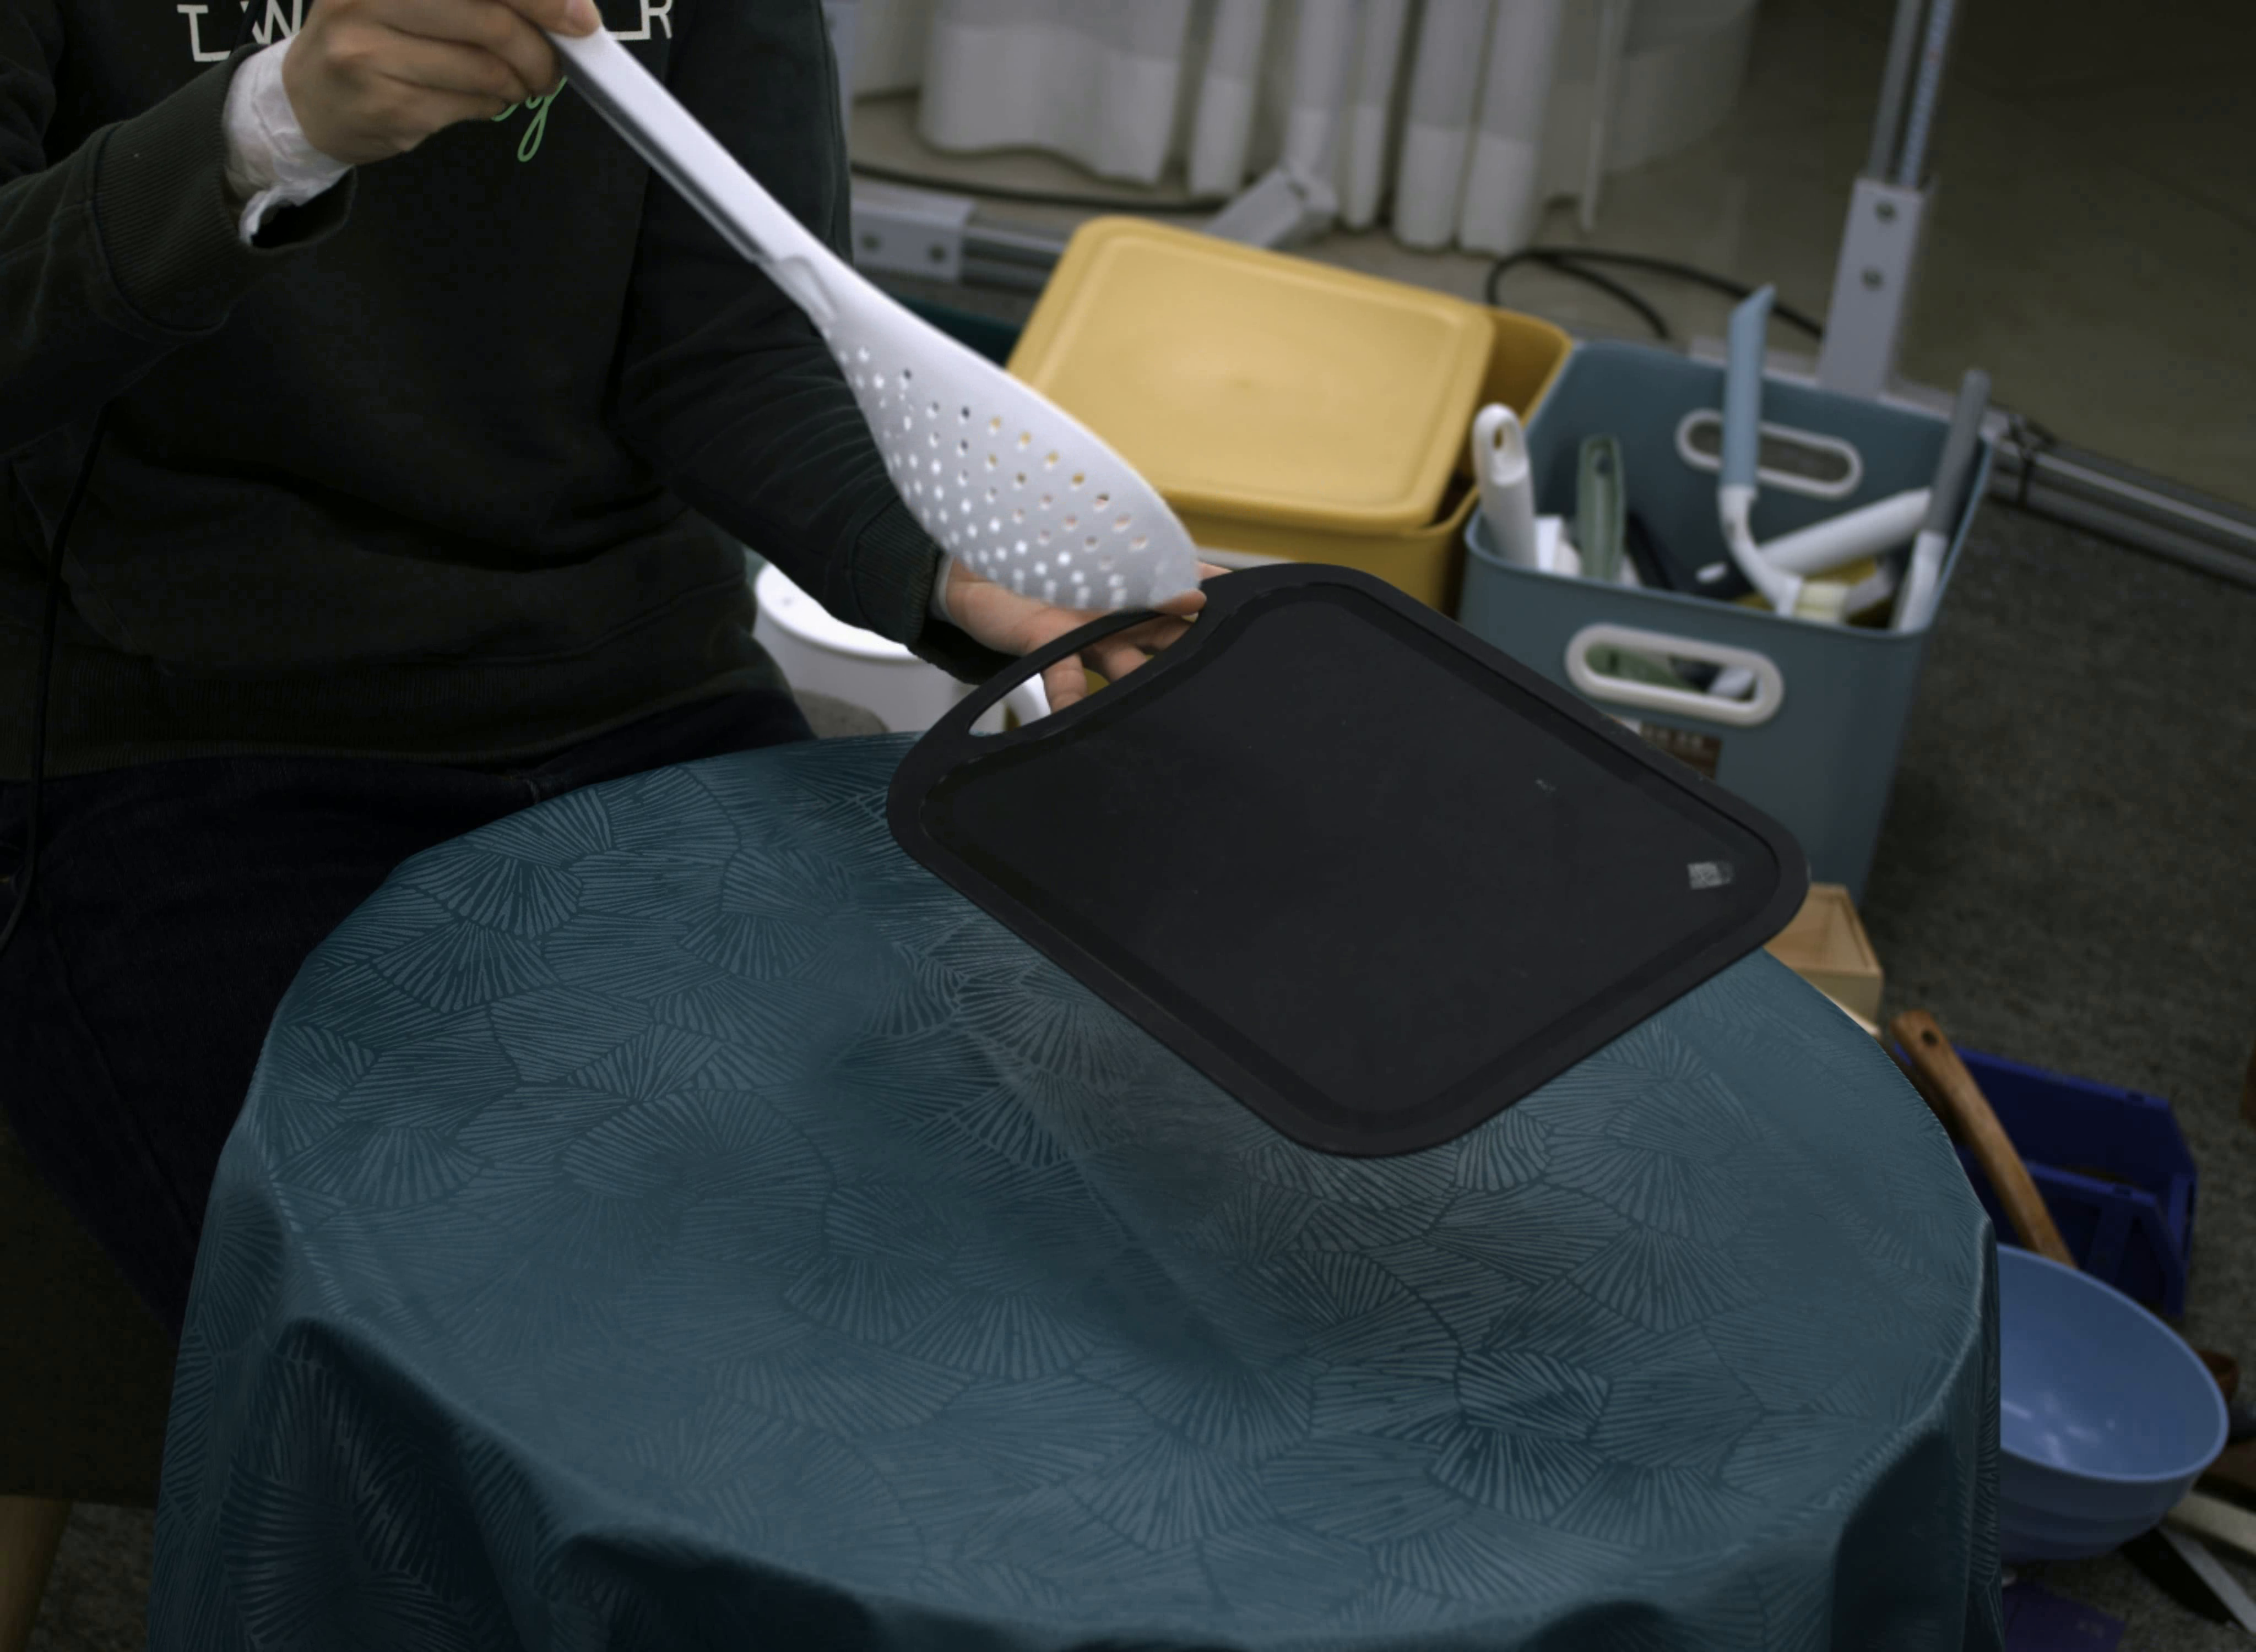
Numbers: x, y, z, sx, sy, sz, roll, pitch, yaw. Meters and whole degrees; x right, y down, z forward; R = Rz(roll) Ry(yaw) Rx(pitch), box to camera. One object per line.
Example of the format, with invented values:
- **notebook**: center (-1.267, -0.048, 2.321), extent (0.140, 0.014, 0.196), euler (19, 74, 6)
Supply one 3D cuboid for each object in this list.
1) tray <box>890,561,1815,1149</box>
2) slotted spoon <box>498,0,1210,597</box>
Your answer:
- **tray**: center (0.064, -0.001, 1.796), extent (0.210, 0.010, 0.328), euler (-30, 39, -22)
- **slotted spoon**: center (-0.104, -0.186, 1.749), extent (0.046, 0.347, 0.137), euler (-50, 26, -19)
